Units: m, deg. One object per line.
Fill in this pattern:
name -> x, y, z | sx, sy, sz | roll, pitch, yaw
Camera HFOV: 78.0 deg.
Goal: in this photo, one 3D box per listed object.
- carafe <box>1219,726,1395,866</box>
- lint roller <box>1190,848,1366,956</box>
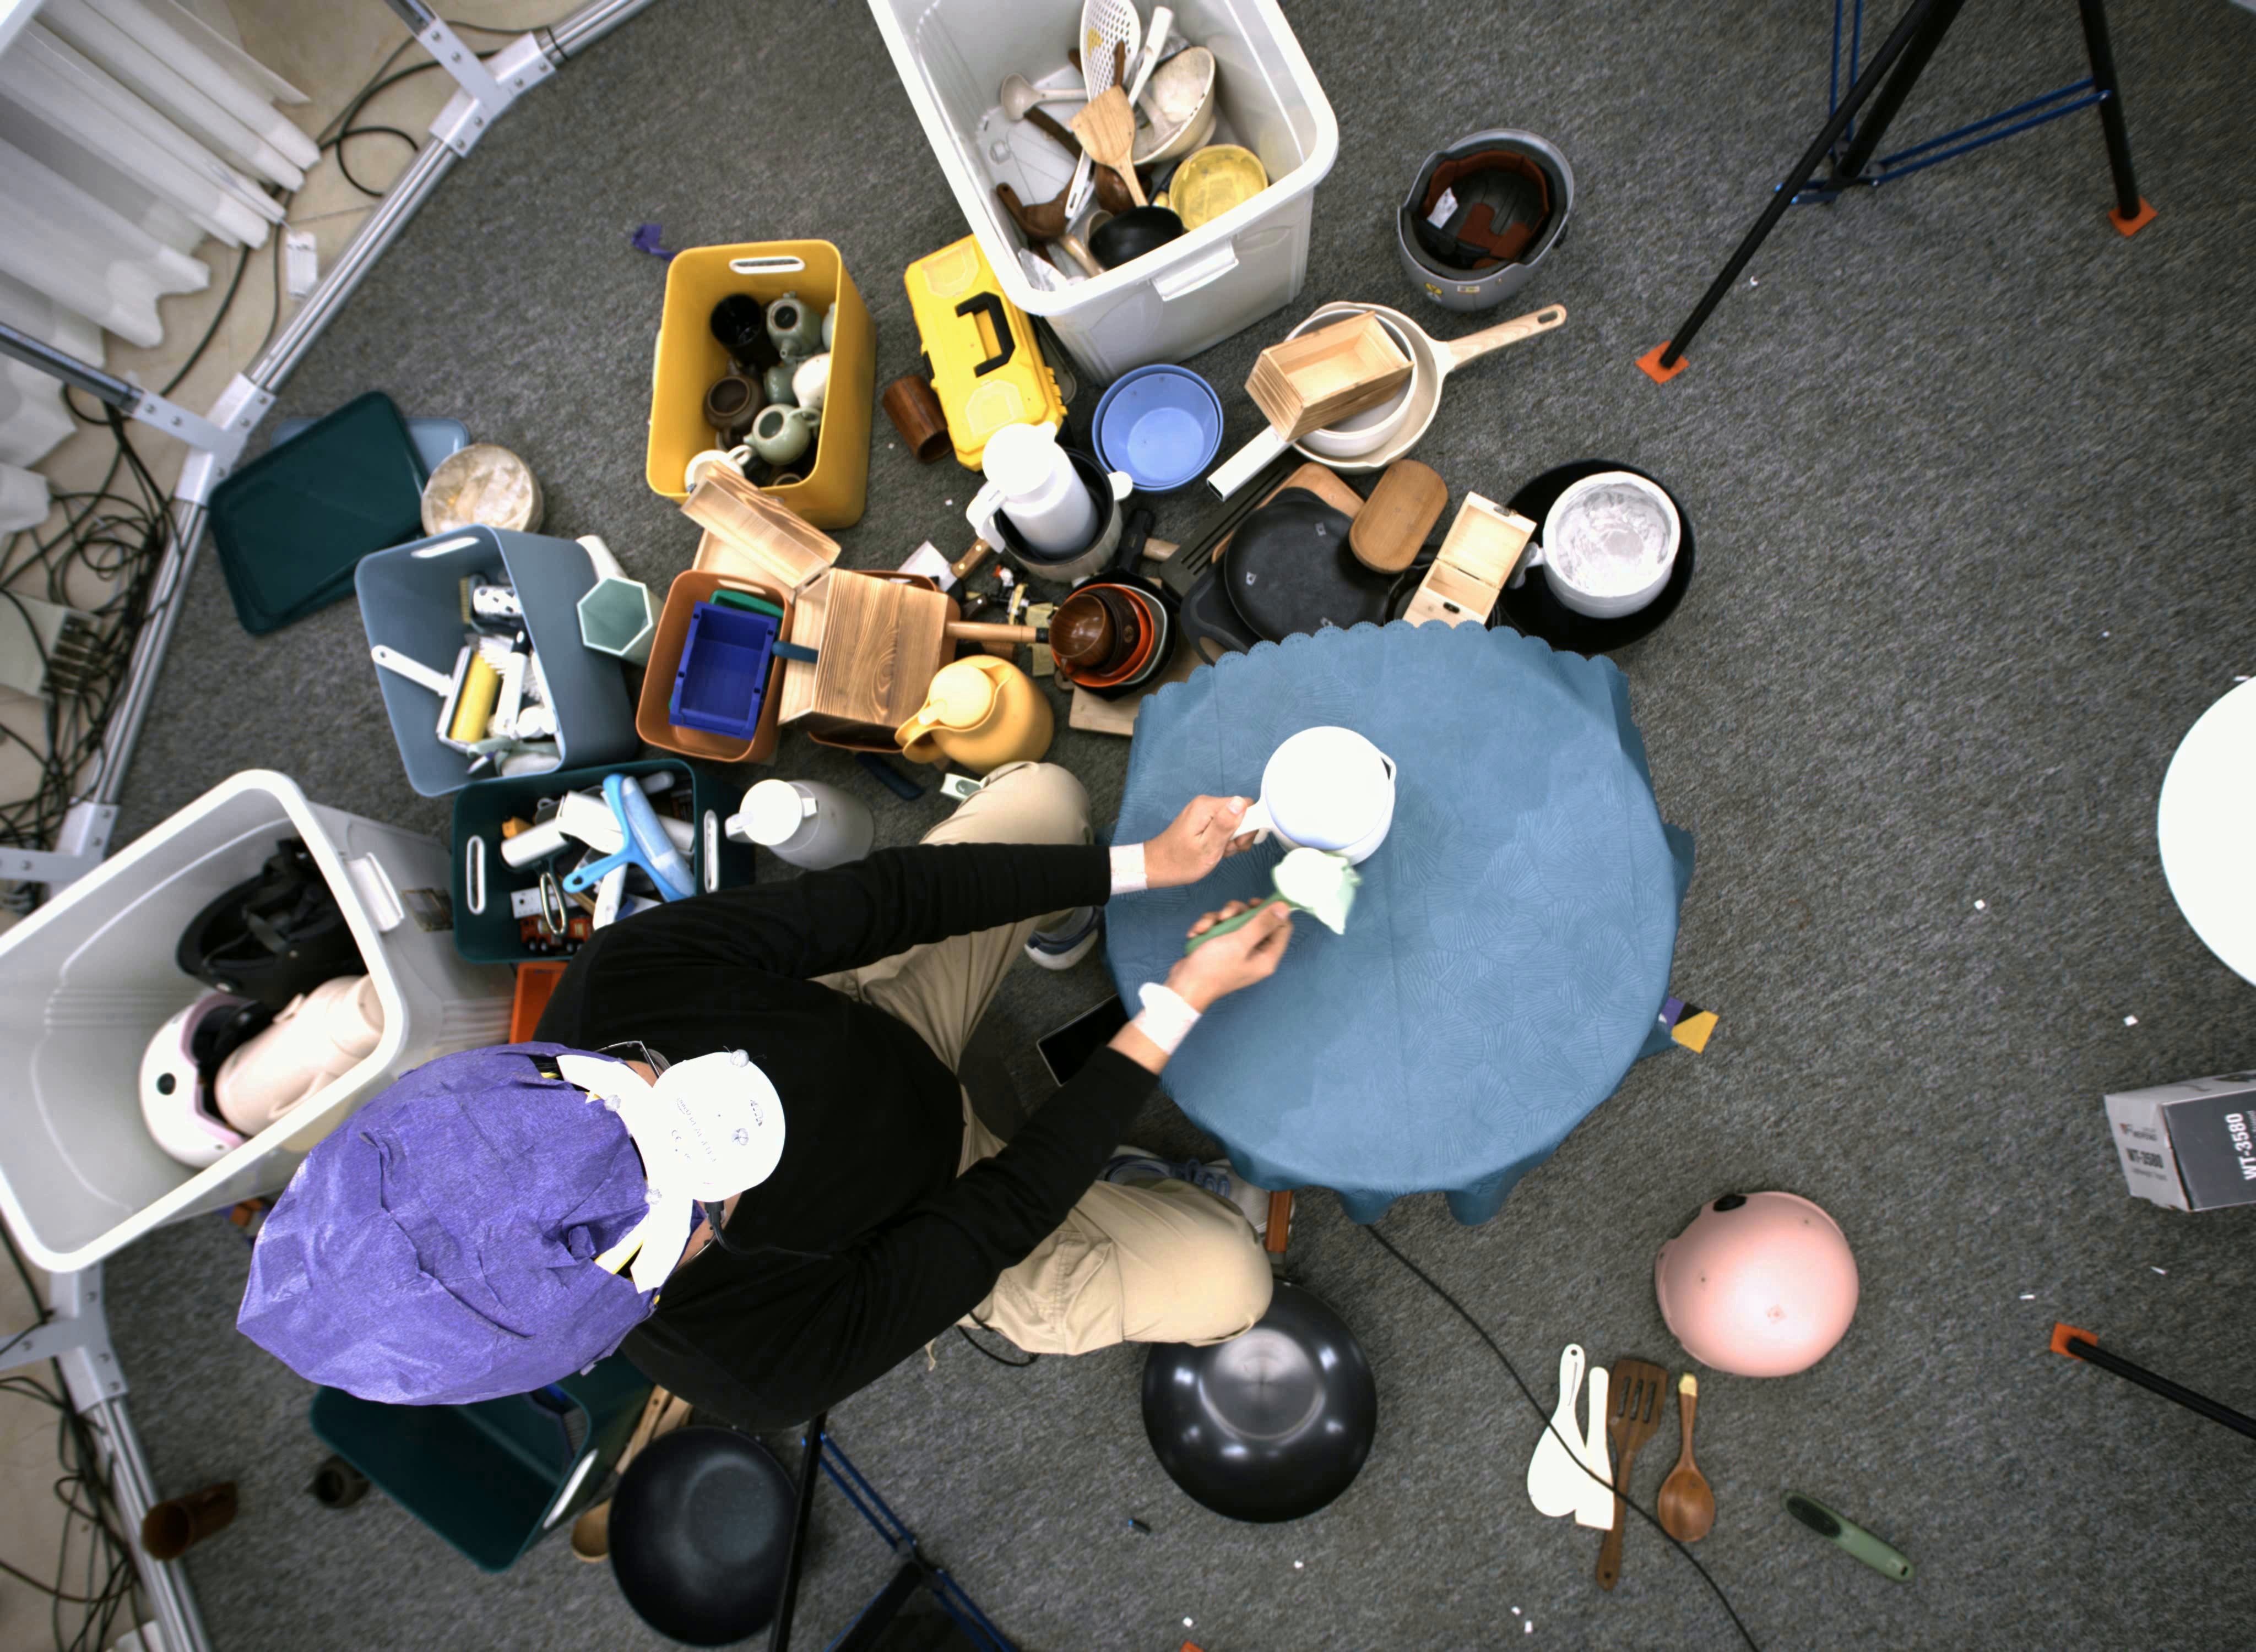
carafe -> 0.180, -0.018, 1.395 | 0.192, 0.182, 0.131 | -22, 81, 10
lint roller -> 0.153, 0.096, 1.370 | 0.184, 0.199, 0.081 | -37, 77, 7
